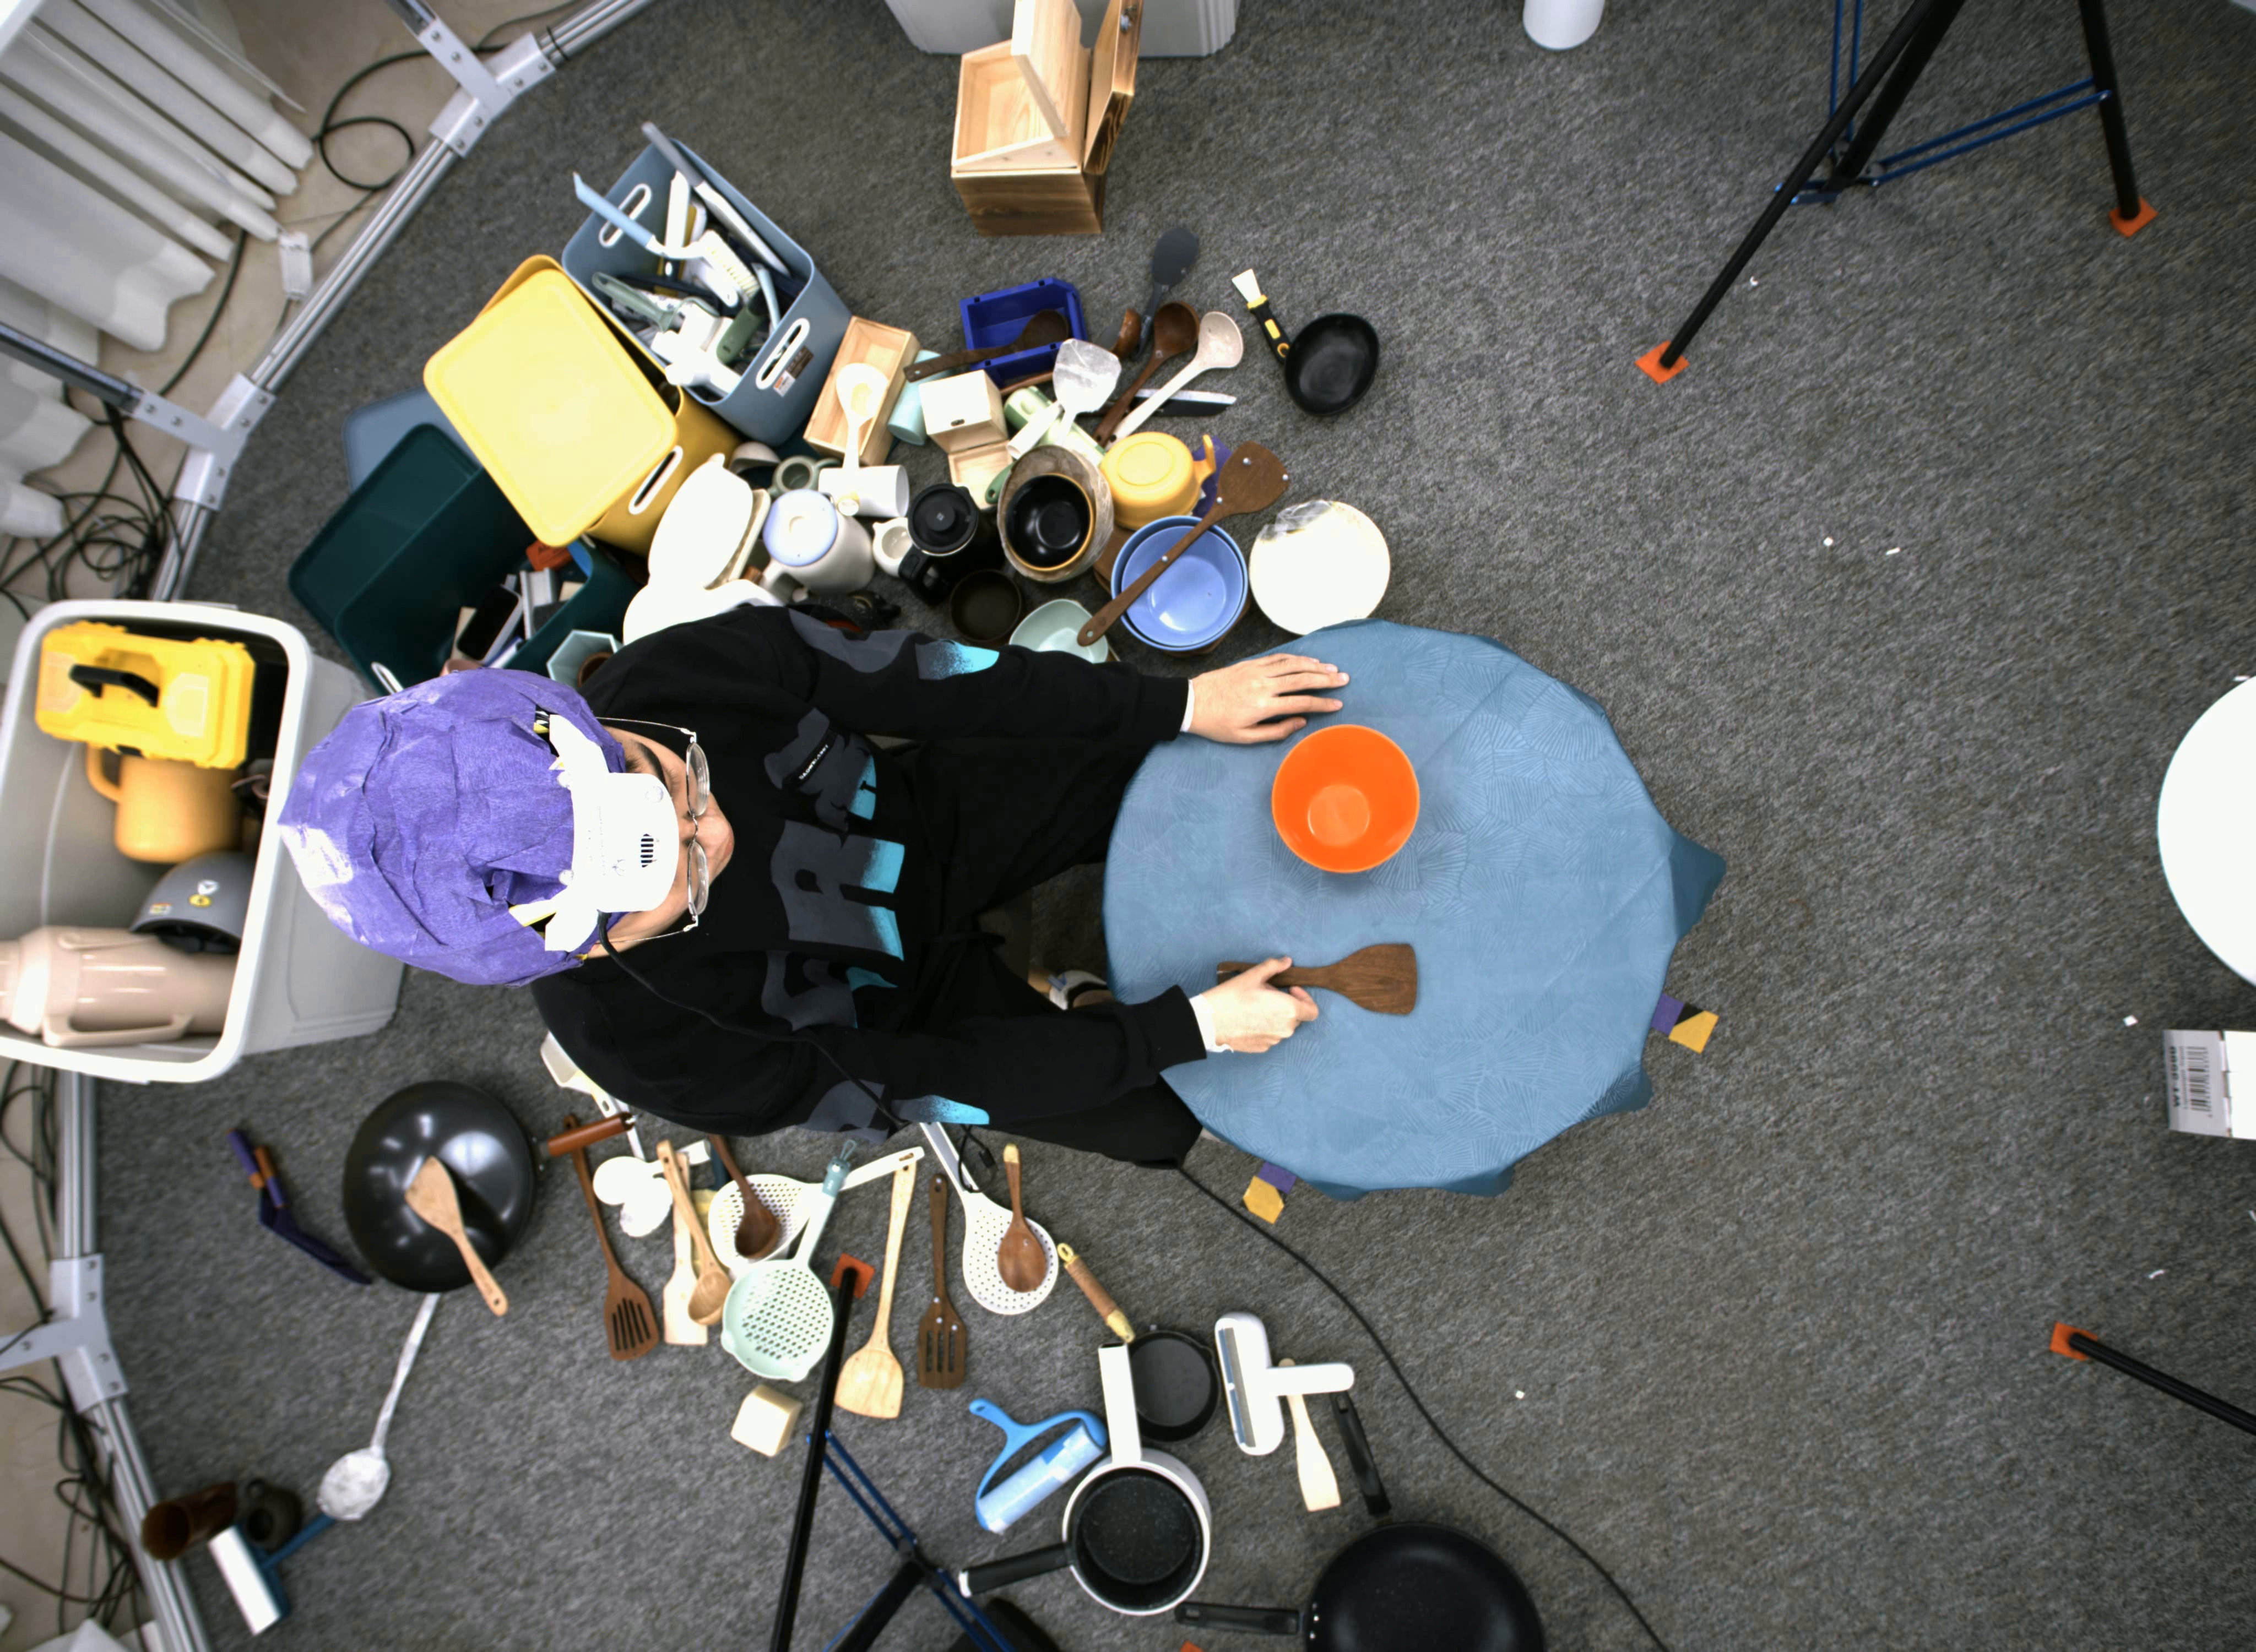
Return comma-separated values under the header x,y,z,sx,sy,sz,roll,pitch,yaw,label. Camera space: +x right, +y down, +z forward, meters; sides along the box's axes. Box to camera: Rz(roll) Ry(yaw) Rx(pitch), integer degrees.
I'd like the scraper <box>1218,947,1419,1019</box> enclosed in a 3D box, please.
x,y,z,sx,sy,sz,roll,pitch,yaw,label
0.201,0.162,1.466,0.212,0.011,0.075,1,85,10,scraper

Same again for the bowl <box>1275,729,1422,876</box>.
x,y,z,sx,sy,sz,roll,pitch,yaw,label
0.228,-0.020,1.429,0.148,0.104,0.147,-1,86,11,bowl
